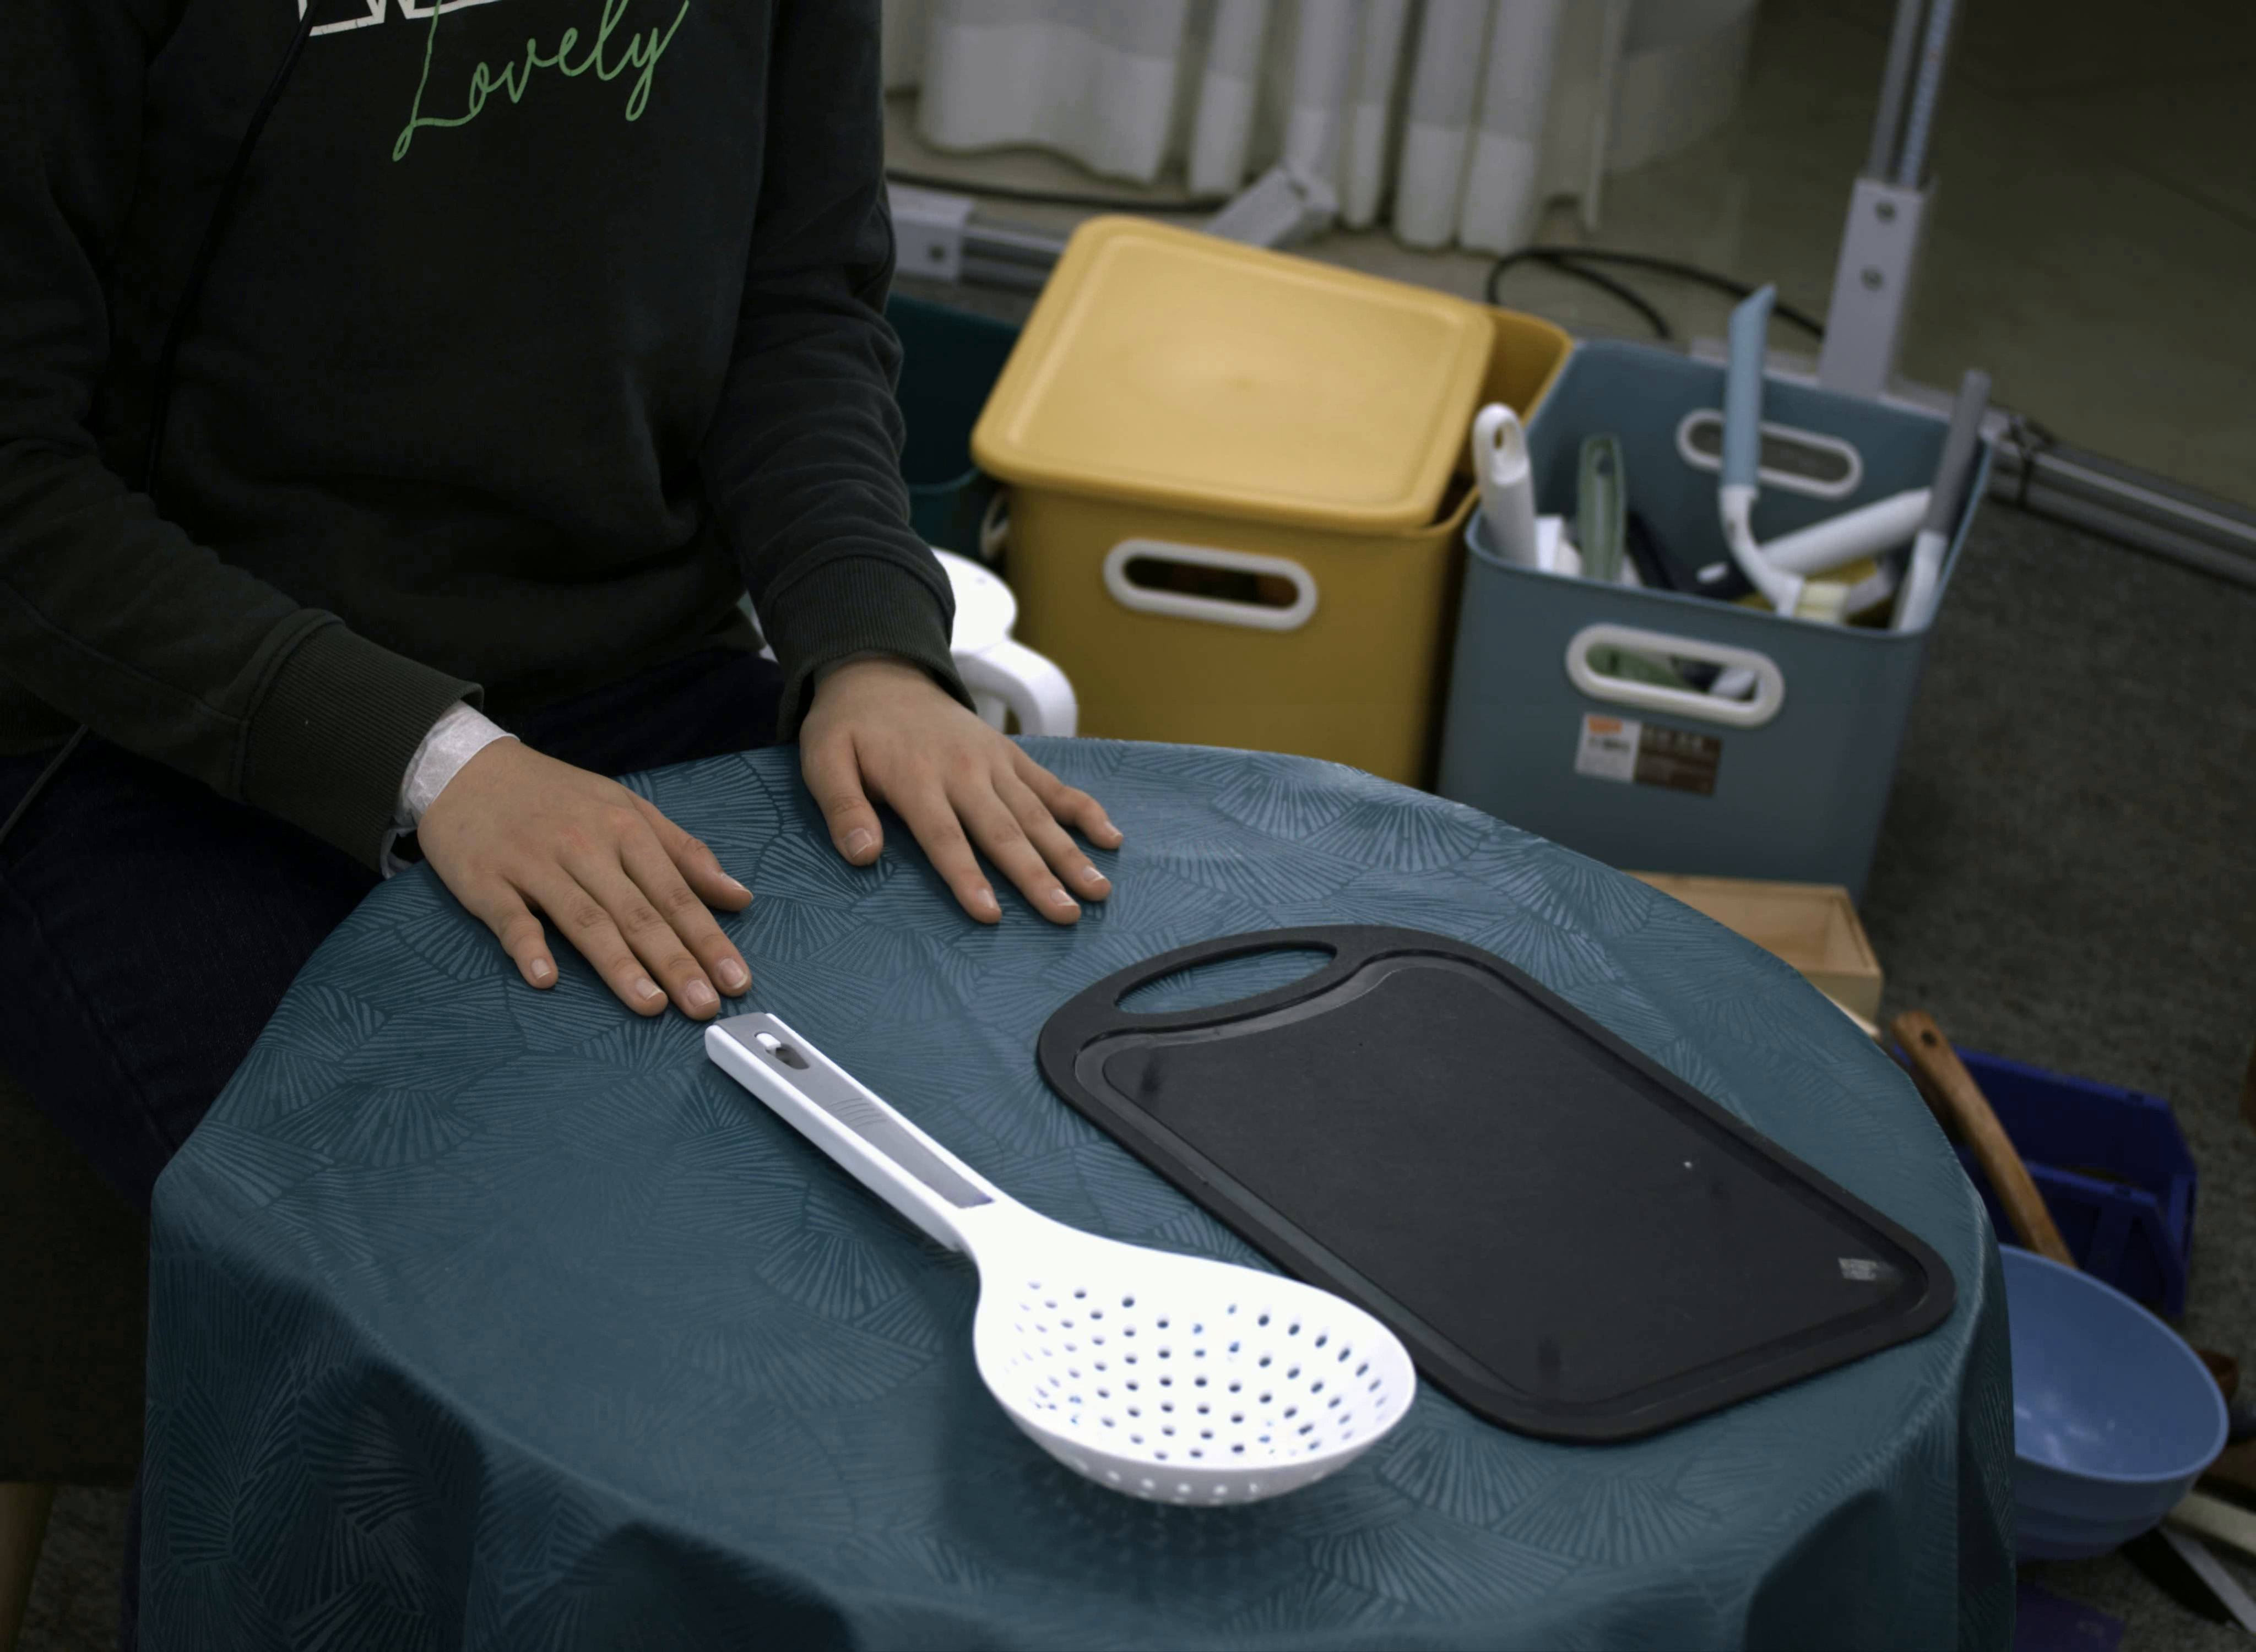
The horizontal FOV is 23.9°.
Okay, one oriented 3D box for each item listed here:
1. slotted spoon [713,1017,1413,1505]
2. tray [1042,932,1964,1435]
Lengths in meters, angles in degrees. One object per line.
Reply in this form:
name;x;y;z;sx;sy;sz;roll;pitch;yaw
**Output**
slotted spoon;-0.040;0.134;1.720;0.135;0.045;0.353;-9;30;-32
tray;0.120;0.113;1.840;0.210;0.010;0.328;-13;32;-35
